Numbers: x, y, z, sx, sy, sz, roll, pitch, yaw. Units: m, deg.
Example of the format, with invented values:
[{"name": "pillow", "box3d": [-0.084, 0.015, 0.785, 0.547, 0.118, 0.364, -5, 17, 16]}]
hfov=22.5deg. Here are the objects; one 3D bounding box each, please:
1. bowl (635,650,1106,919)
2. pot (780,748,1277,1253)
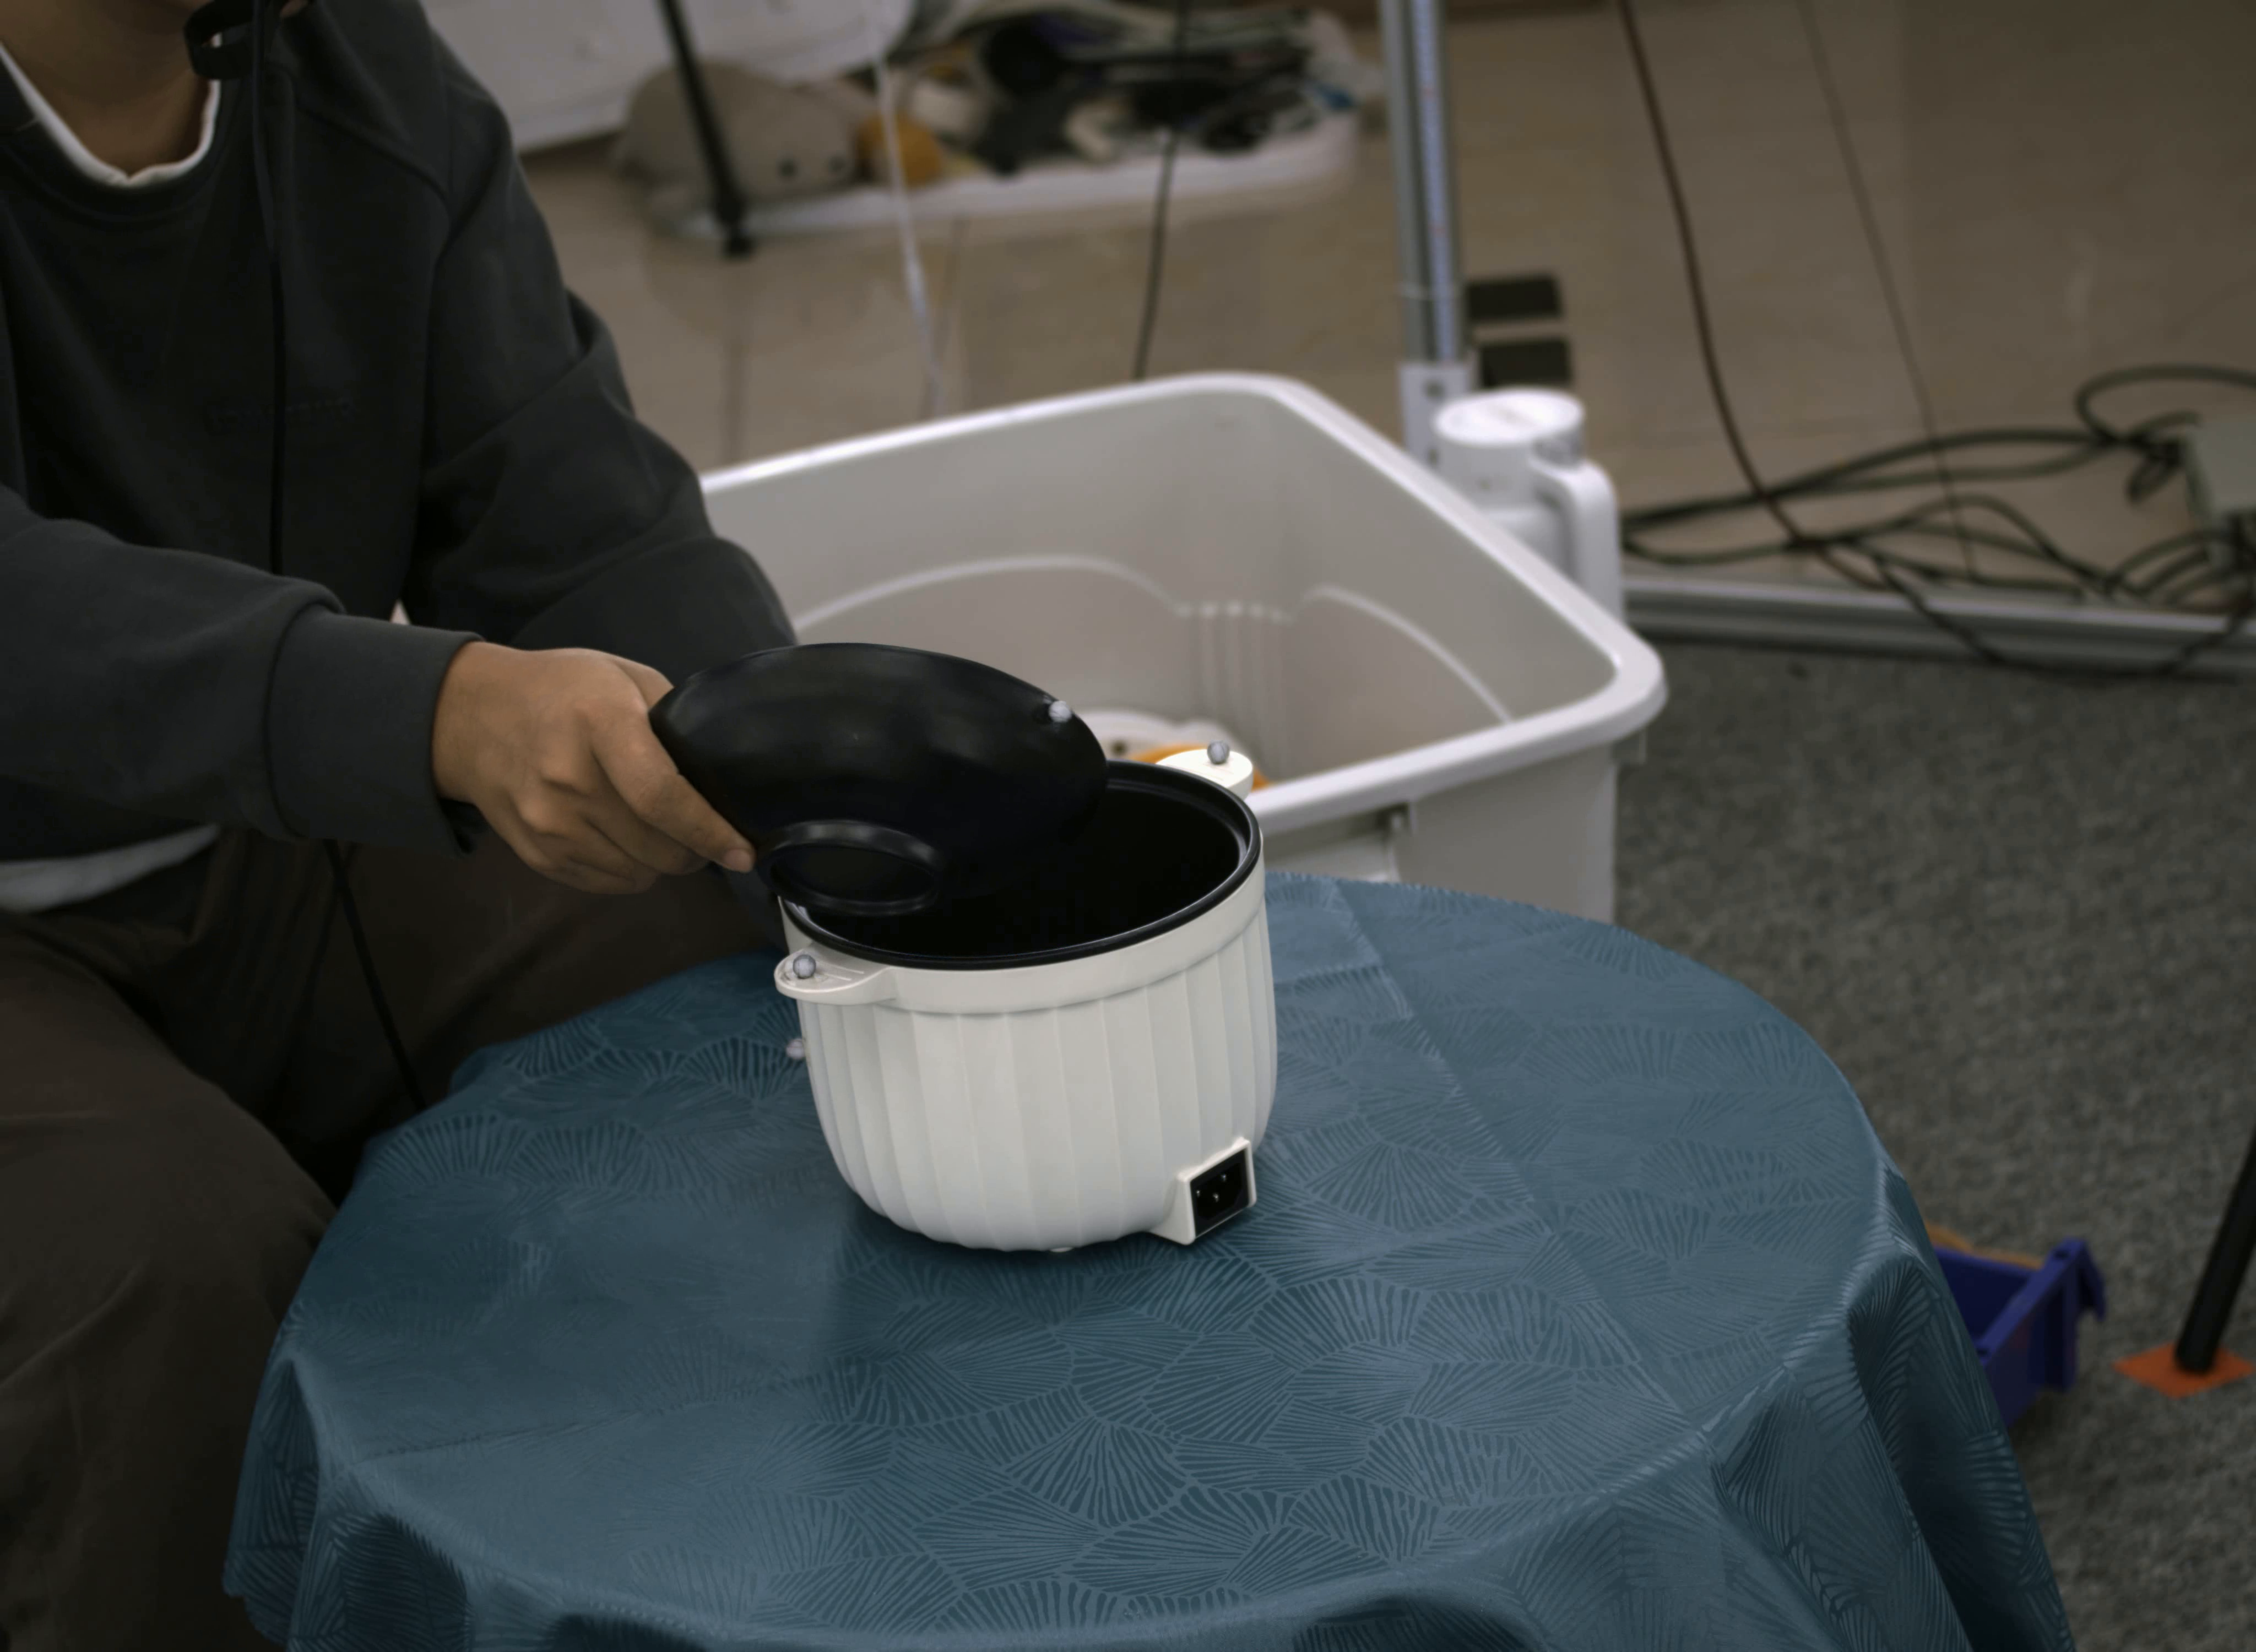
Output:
[{"name": "bowl", "box3d": [-0.093, -0.008, 2.031, 0.170, 0.139, 0.066, 9, 67, -8]}, {"name": "pot", "box3d": [-0.038, 0.071, 2.139, 0.189, 0.145, 0.238, 20, 34, 38]}]
